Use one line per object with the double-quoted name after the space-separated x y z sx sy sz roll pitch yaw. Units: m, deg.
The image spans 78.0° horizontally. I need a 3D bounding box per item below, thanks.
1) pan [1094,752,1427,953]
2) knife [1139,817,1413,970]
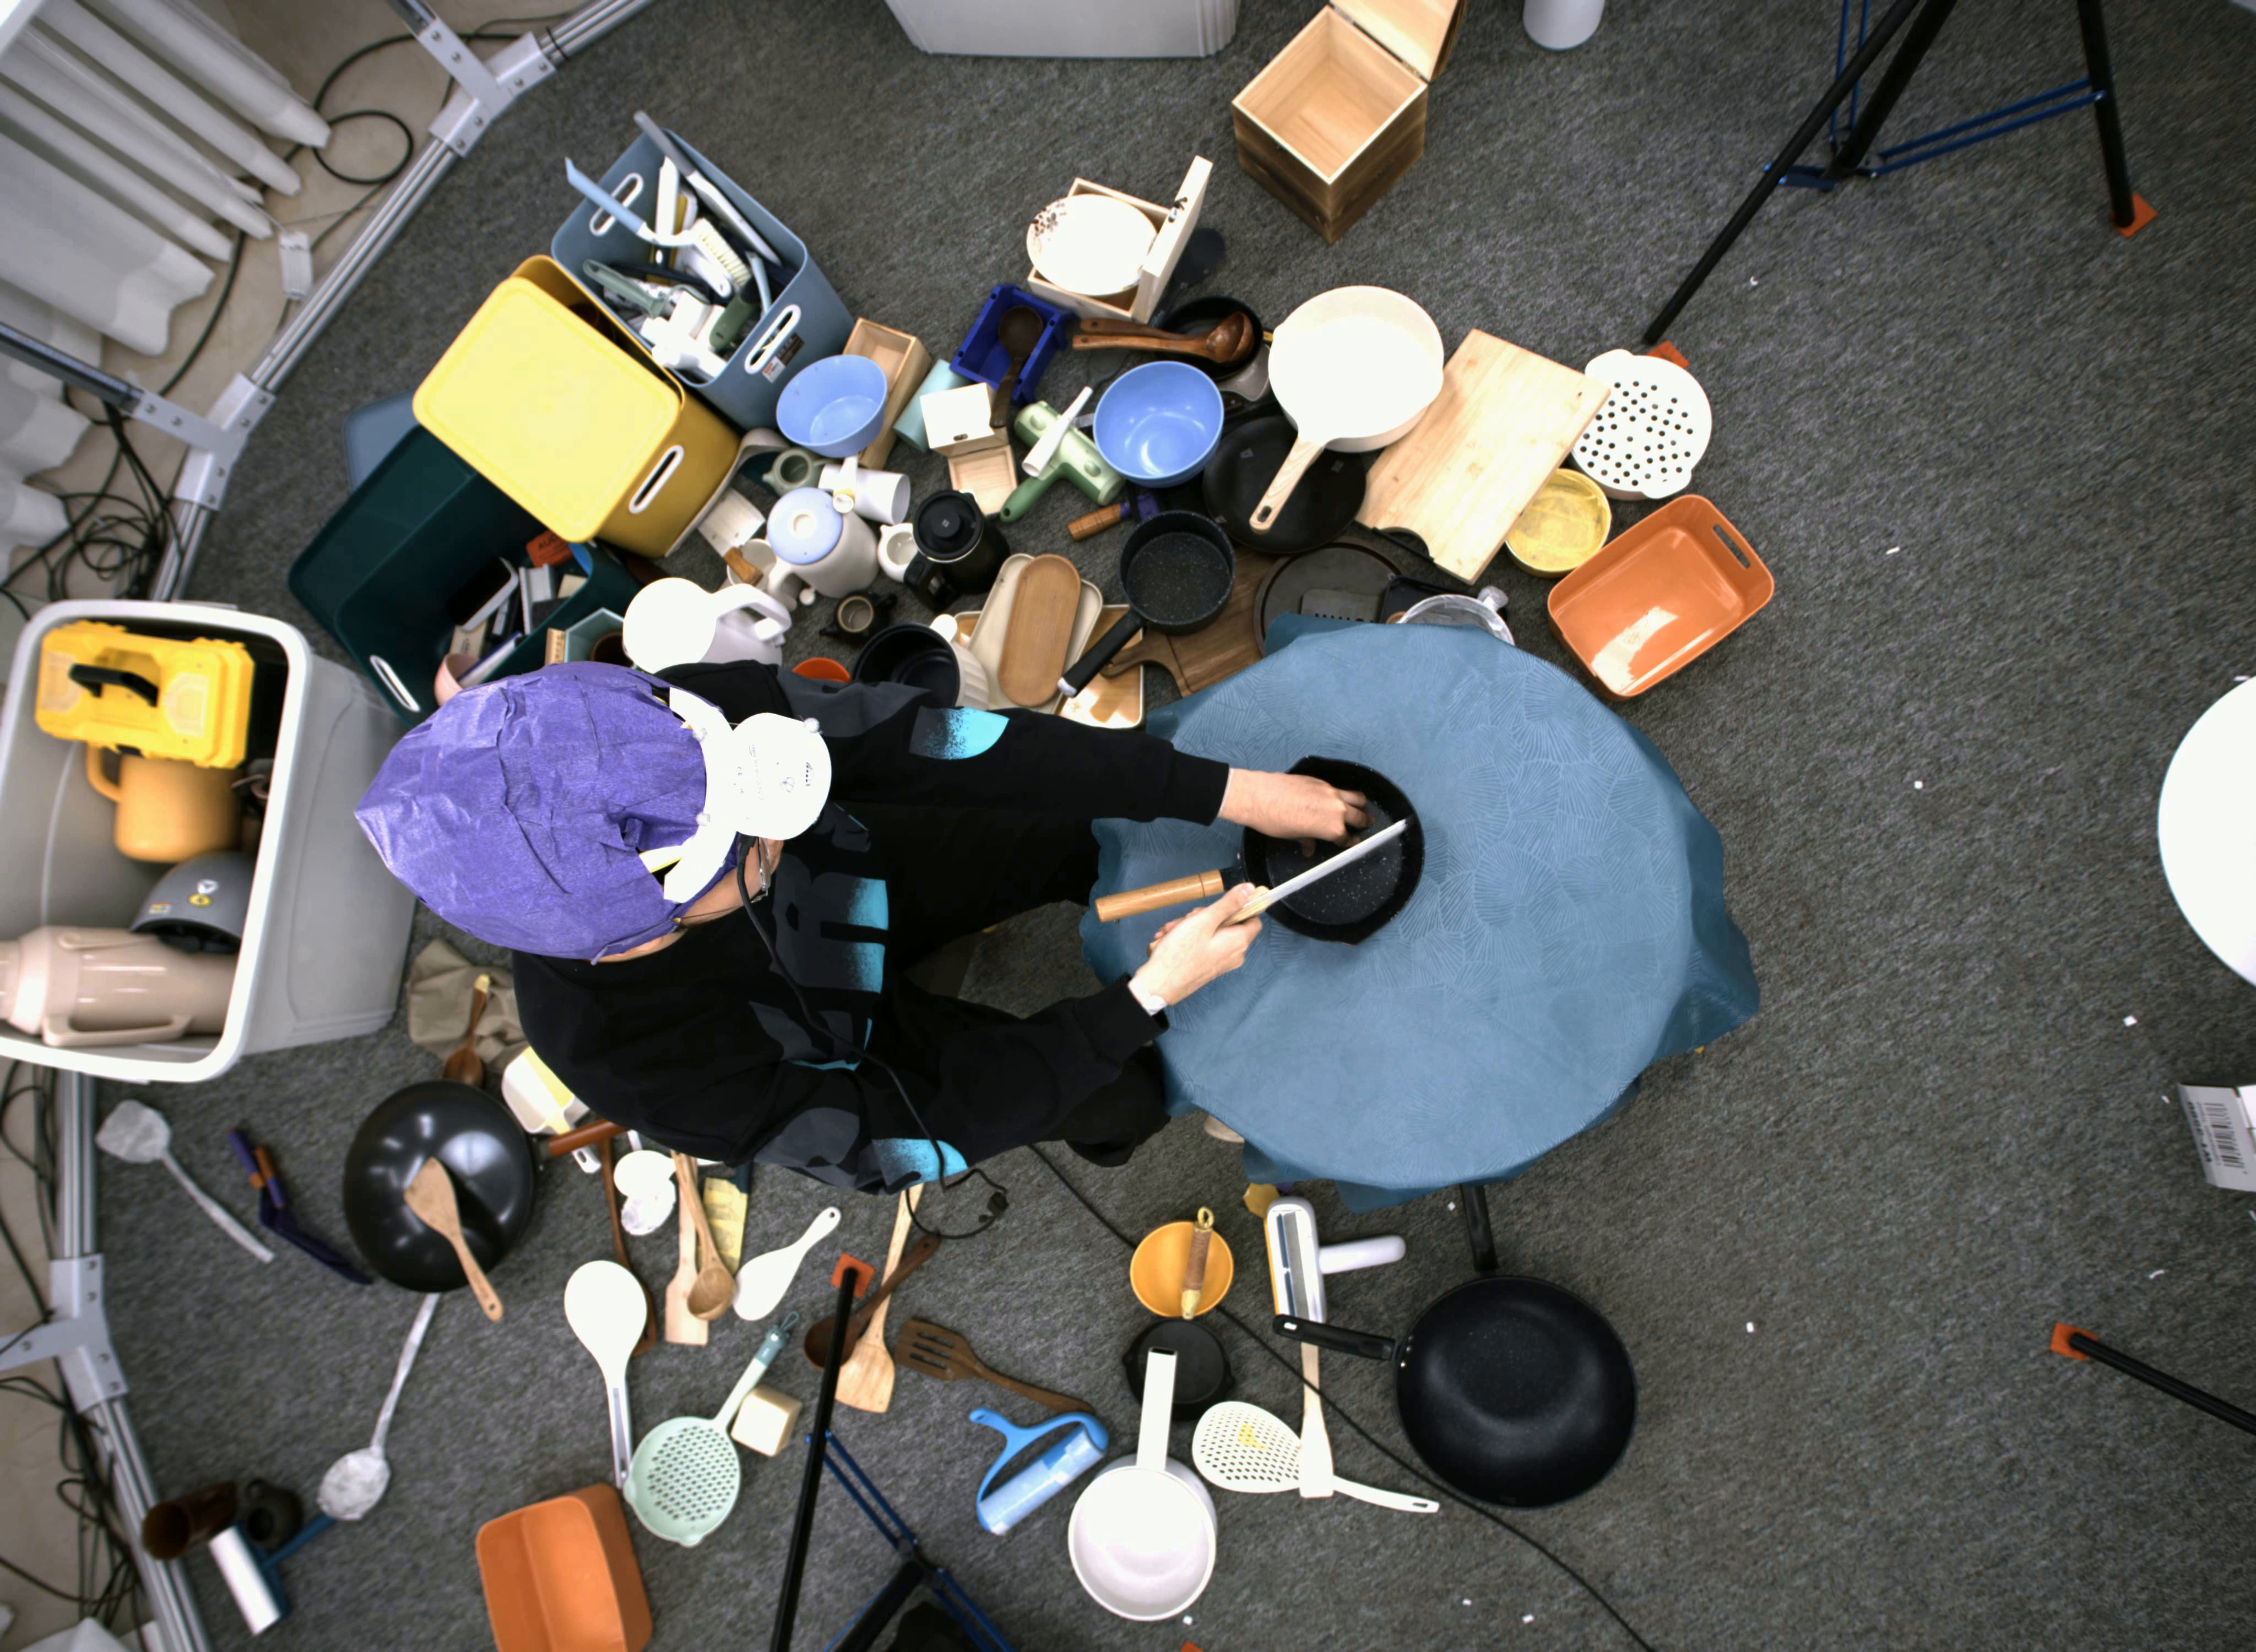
0.136 0.049 1.431 0.344 0.108 0.206 -17 84 8 "pan"
0.148 0.062 1.345 0.312 0.116 0.021 -25 79 -17 "knife"
